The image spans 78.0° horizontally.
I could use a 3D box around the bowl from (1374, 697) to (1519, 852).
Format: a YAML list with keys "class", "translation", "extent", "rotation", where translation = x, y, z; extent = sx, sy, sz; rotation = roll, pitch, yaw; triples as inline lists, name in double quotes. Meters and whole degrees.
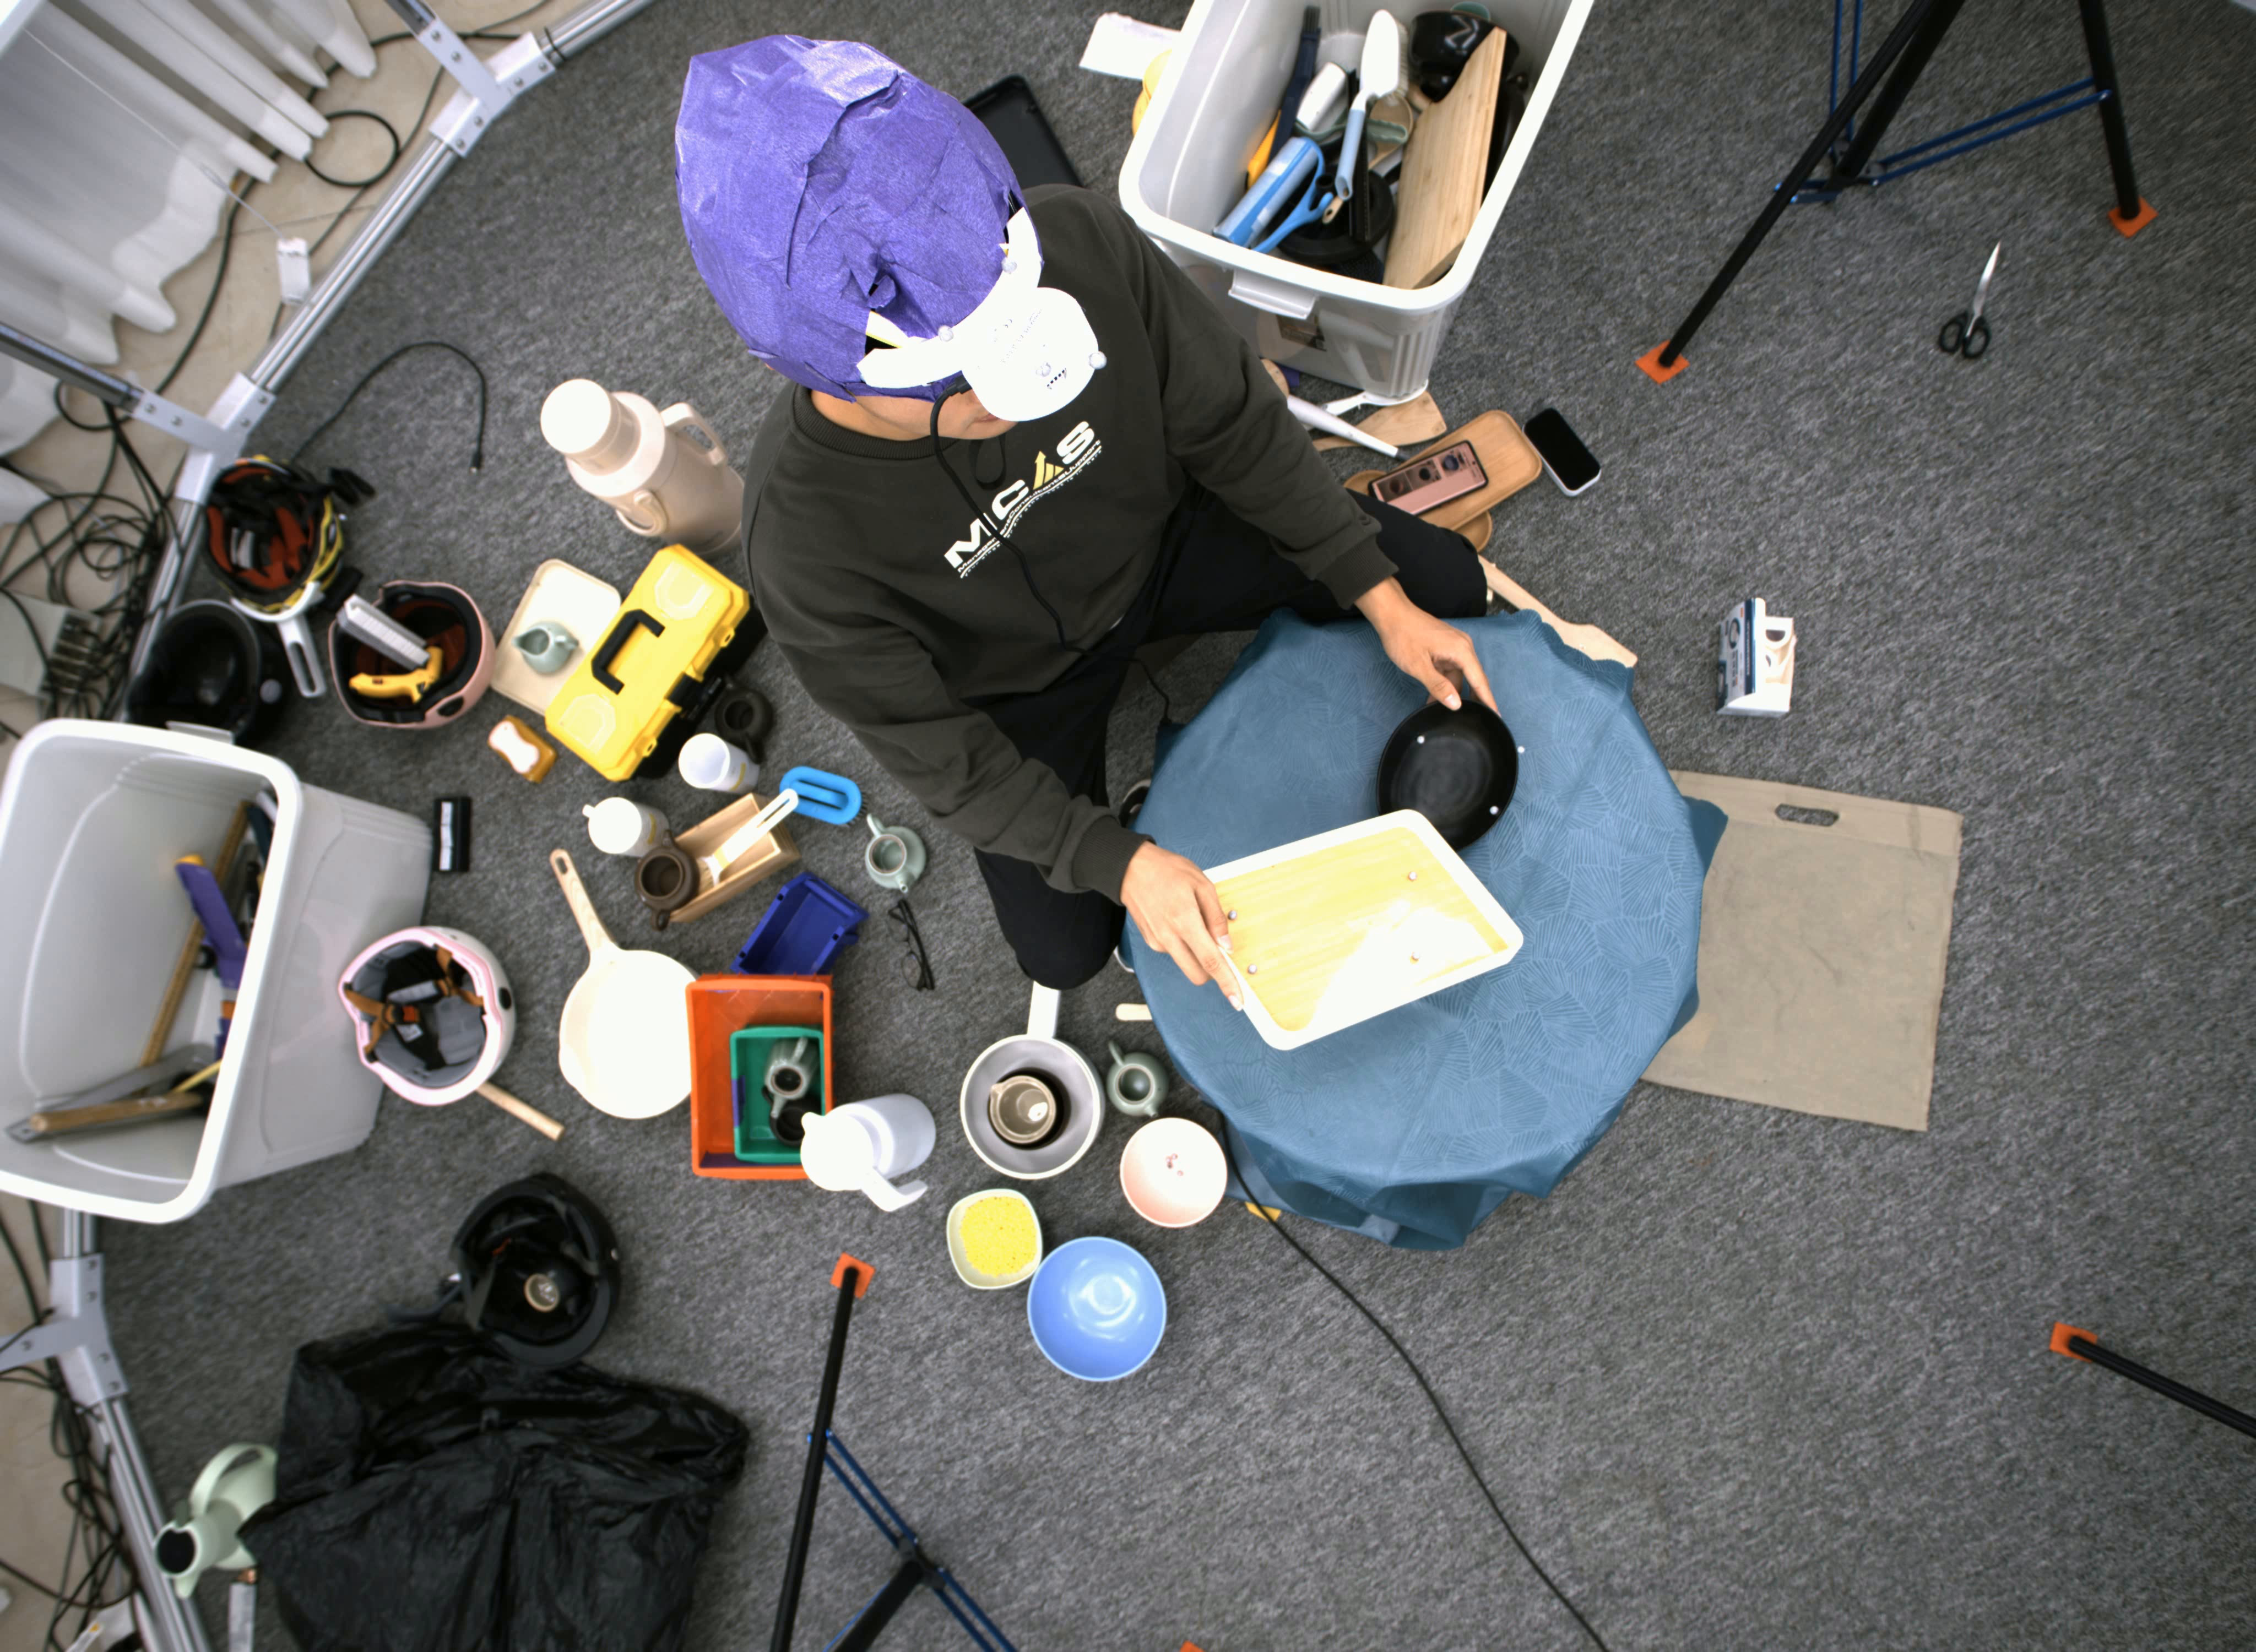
- class: "bowl"
  translation: [0.329, -0.051, 1.422]
  extent: [0.137, 0.066, 0.171]
  rotation: [26, 99, 13]

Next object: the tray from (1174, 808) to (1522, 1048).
- class: "tray"
  translation: [0.210, 0.087, 1.310]
  extent: [0.297, 0.028, 0.188]
  rotation: [-16, 56, -27]
